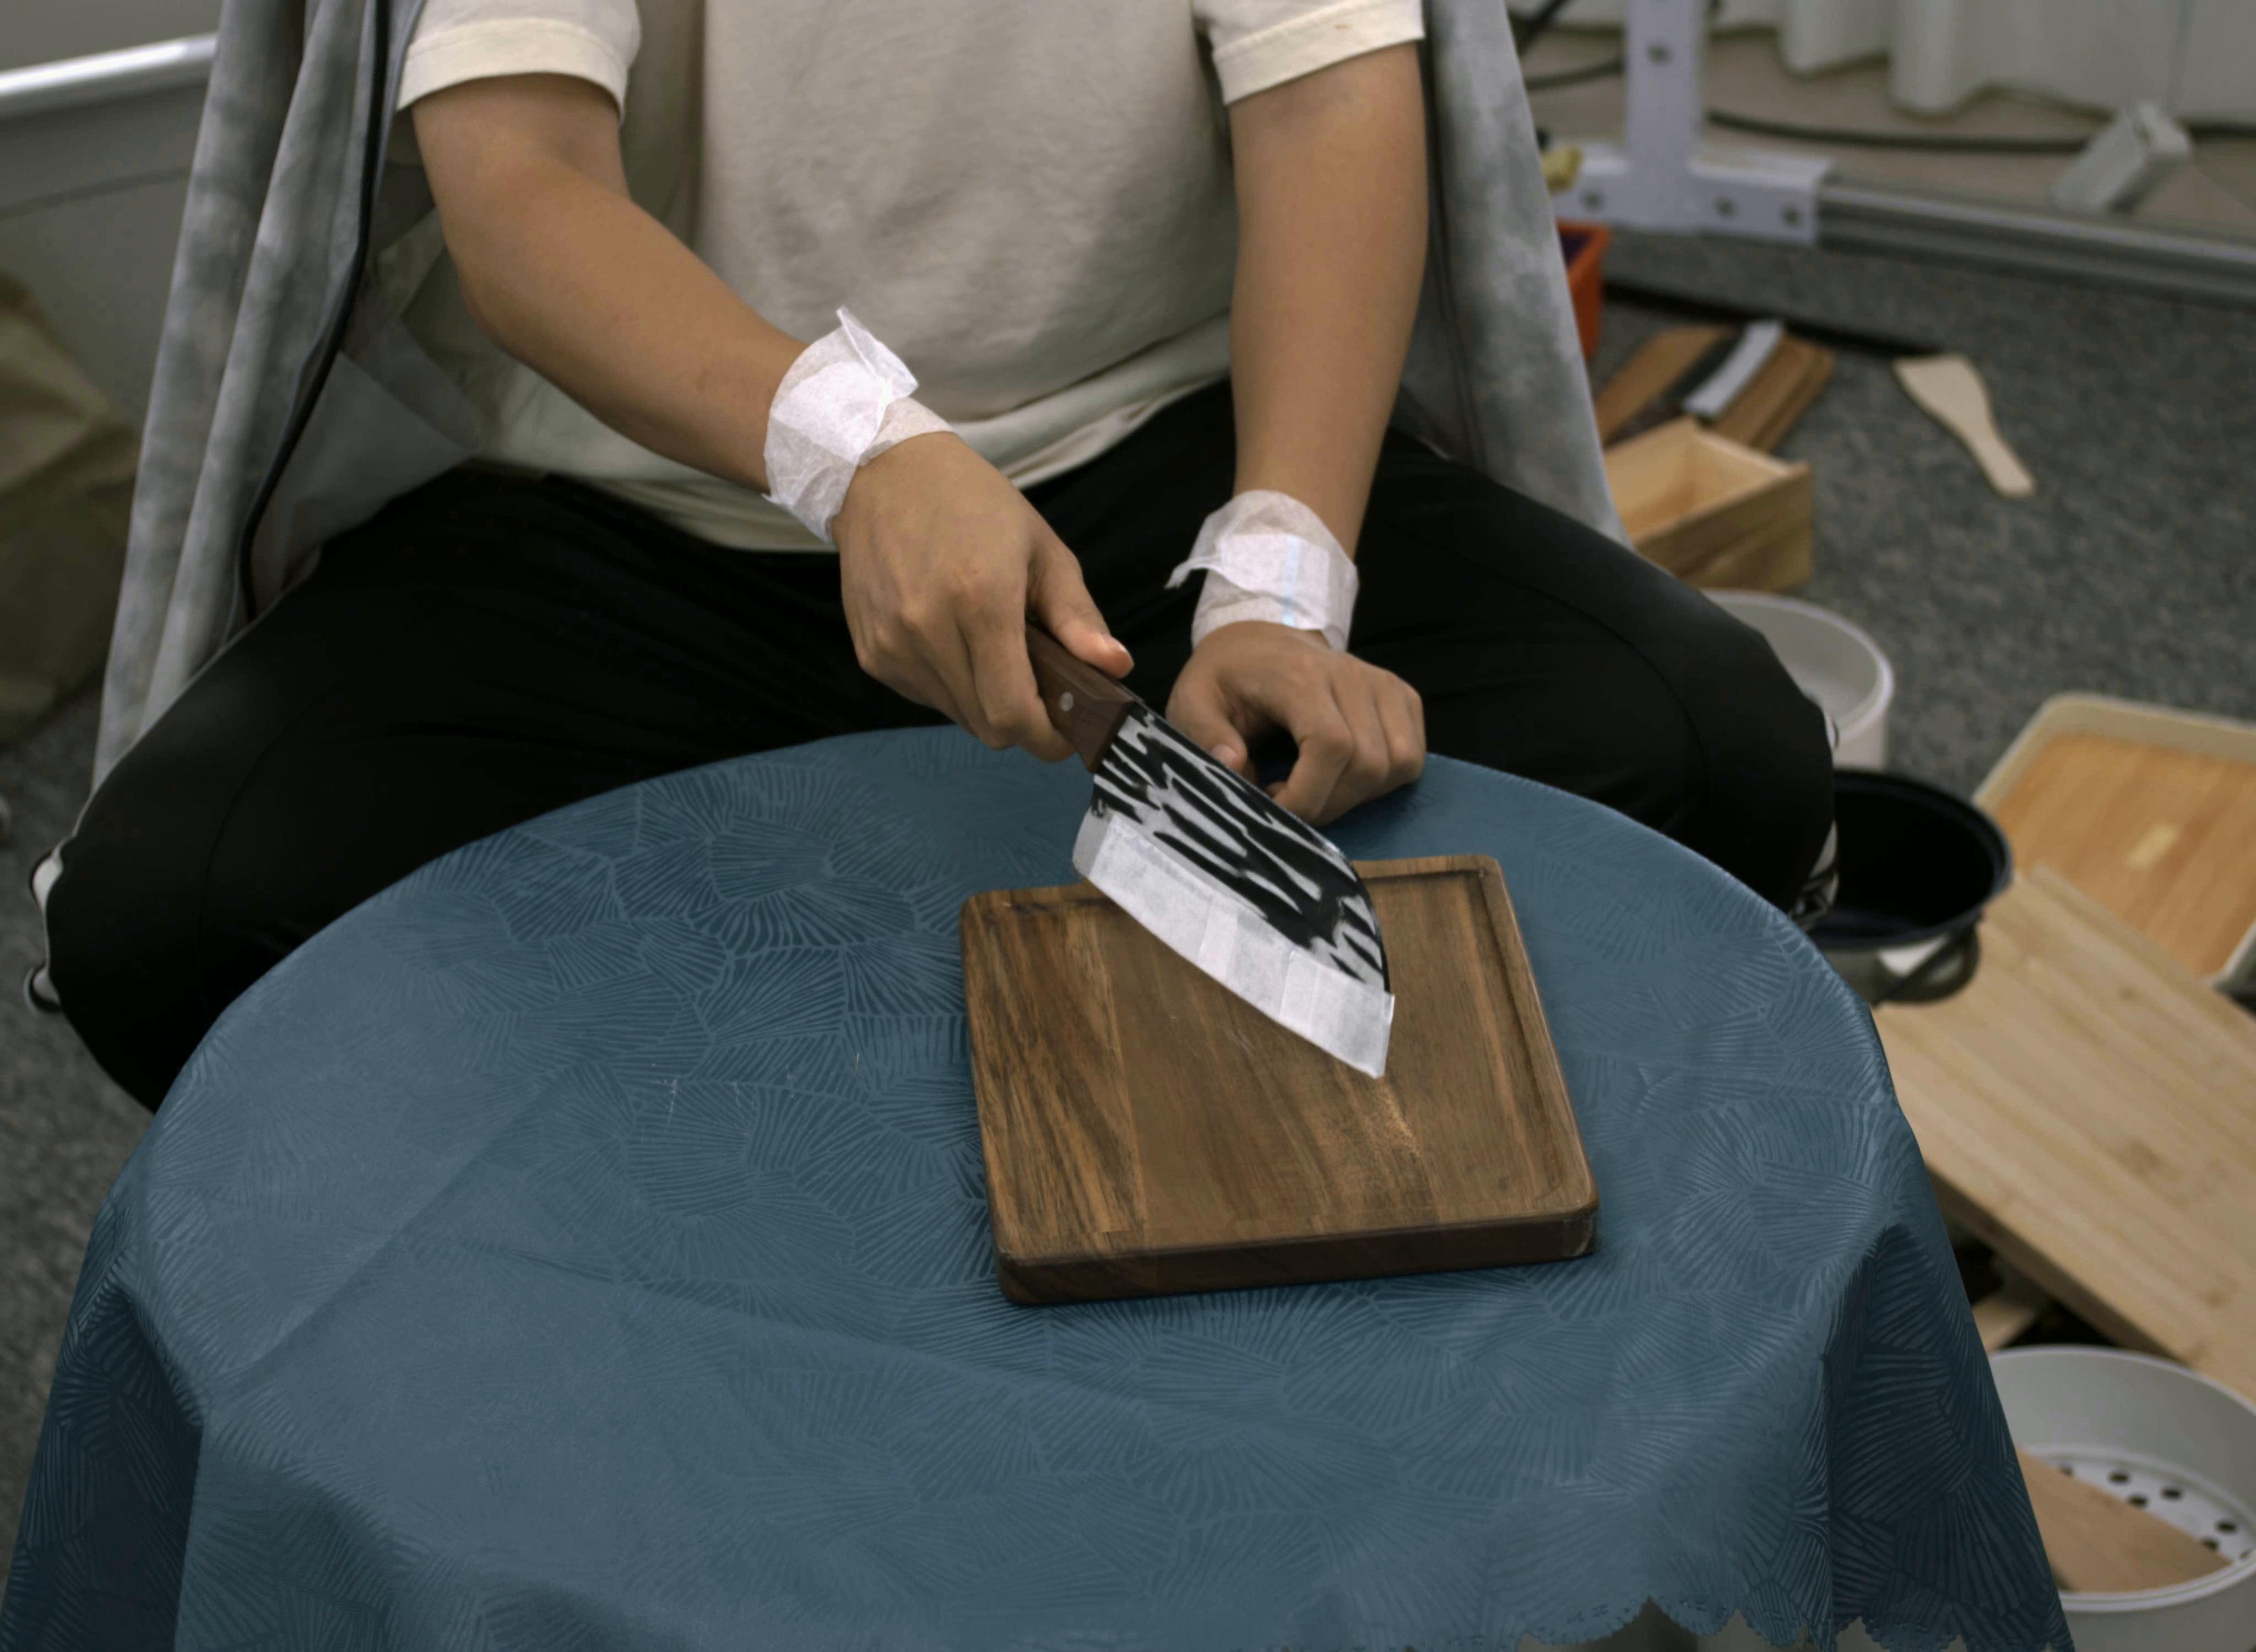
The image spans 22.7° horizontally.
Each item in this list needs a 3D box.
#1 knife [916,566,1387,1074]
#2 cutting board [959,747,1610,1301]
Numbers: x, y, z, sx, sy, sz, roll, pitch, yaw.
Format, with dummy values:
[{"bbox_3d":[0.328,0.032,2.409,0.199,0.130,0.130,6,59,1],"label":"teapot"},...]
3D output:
[{"bbox_3d":[0.006,-0.005,1.974,0.024,0.067,0.301,8,22,-42],"label":"knife"},{"bbox_3d":[0.044,0.058,1.956,0.200,0.023,0.357,-4,27,-3],"label":"cutting board"}]
